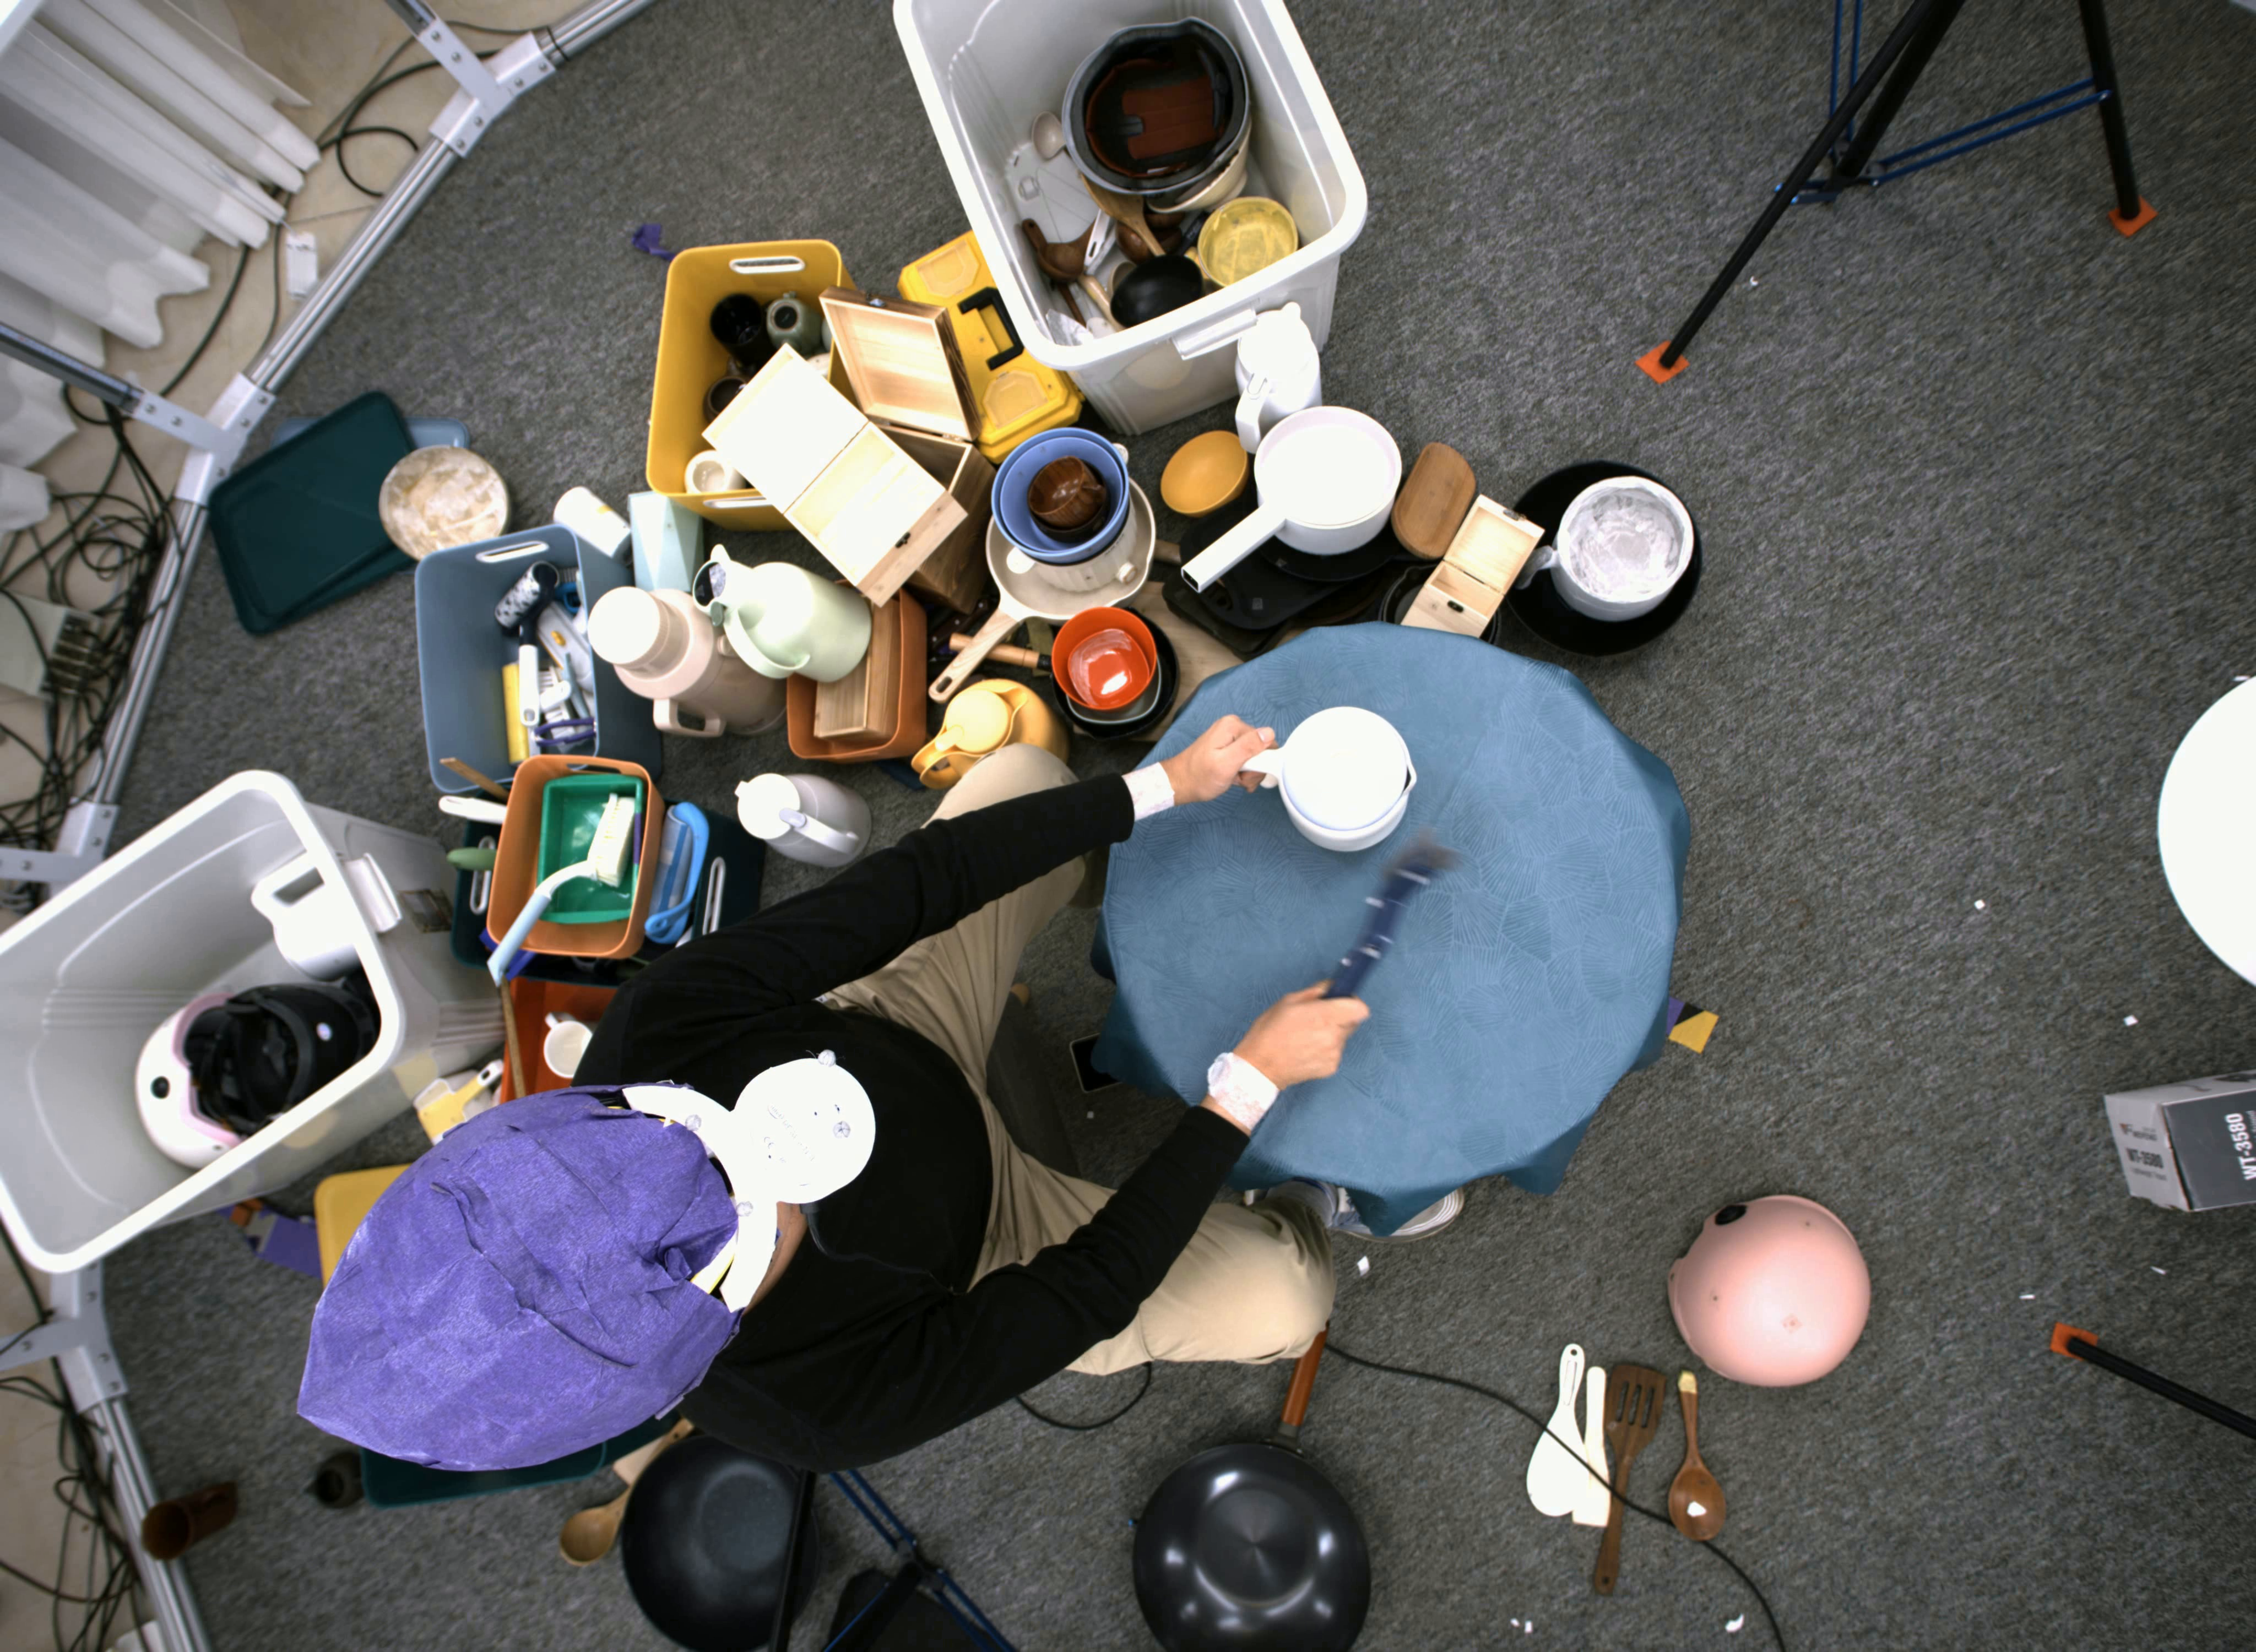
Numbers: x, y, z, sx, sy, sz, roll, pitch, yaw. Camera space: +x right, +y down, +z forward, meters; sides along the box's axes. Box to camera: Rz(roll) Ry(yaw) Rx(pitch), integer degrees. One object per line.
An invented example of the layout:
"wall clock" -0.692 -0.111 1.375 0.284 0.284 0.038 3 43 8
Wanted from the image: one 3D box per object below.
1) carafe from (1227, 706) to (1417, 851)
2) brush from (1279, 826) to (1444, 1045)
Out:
"carafe" 0.194 -0.050 1.394 0.191 0.183 0.131 7 86 12
"brush" 0.219 0.119 1.332 0.033 0.094 0.279 11 118 -19
